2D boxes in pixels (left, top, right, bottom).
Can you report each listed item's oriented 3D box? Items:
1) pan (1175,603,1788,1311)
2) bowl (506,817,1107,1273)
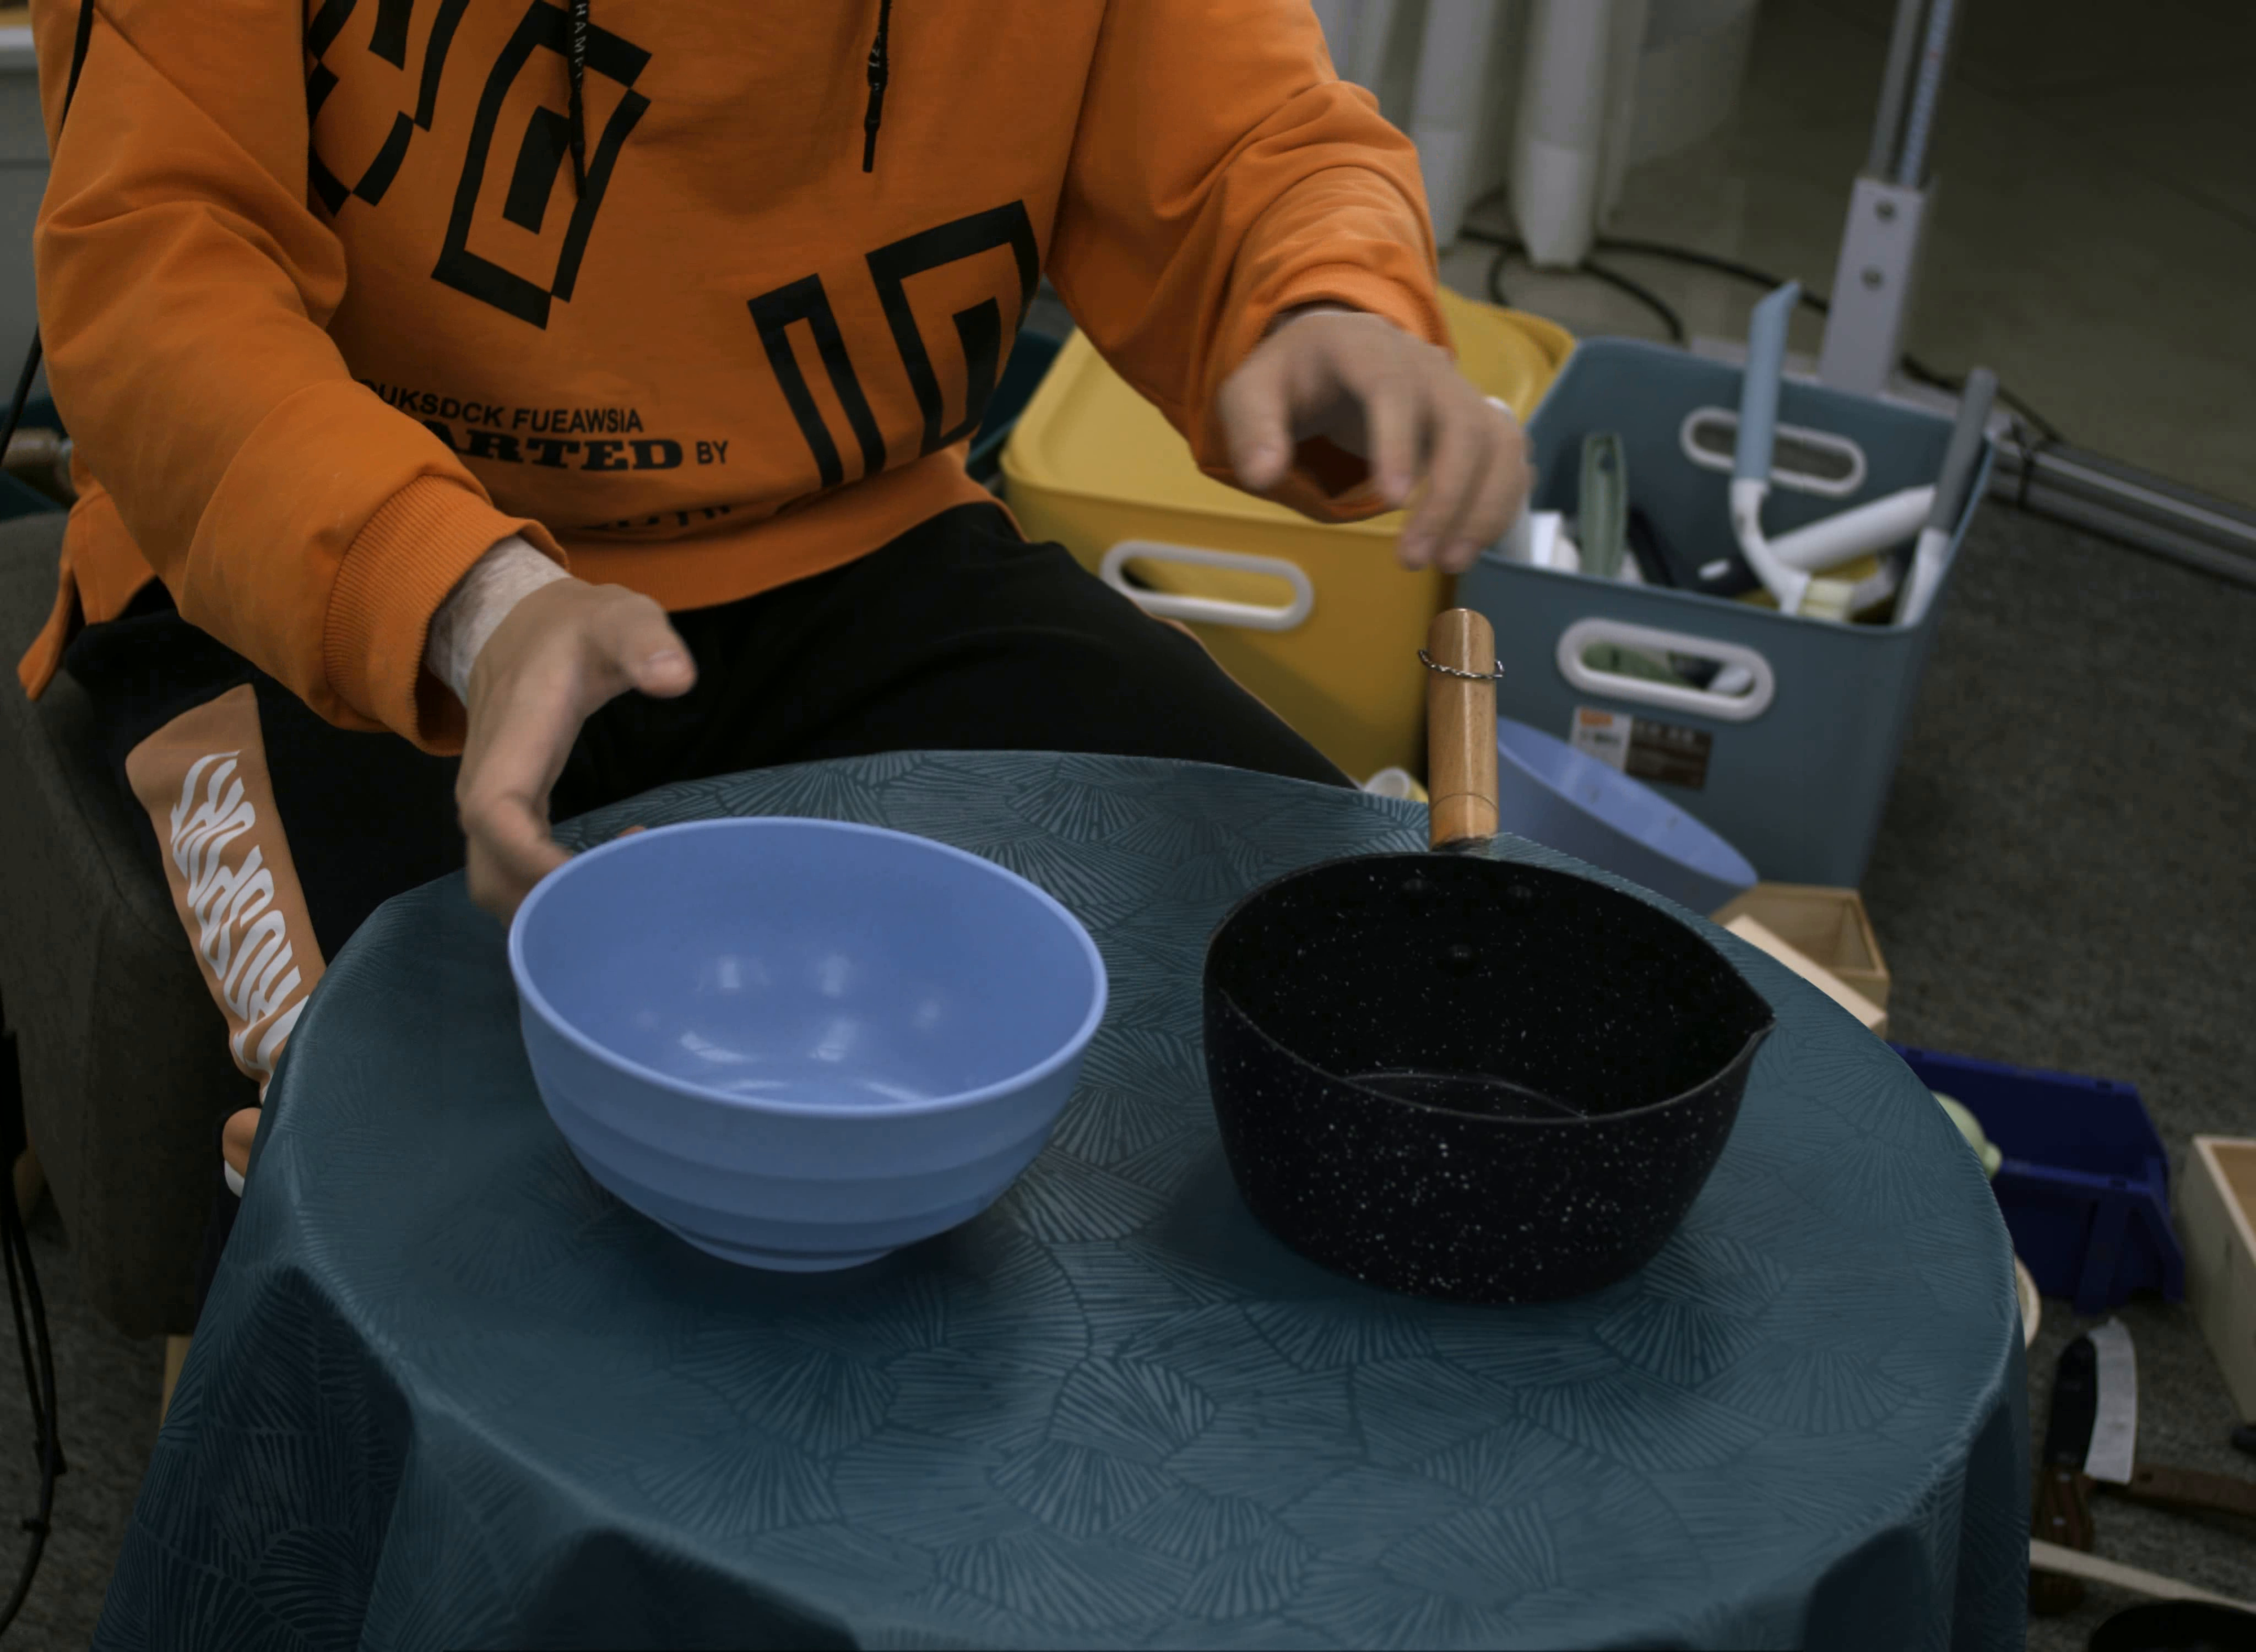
[{"bbox_3d":[0.117,0.042,1.871,0.207,0.108,0.345,4,28,-2],"label":"pan"},{"bbox_3d":[-0.109,0.083,1.753,0.196,0.095,0.198,5,28,-3],"label":"bowl"}]
